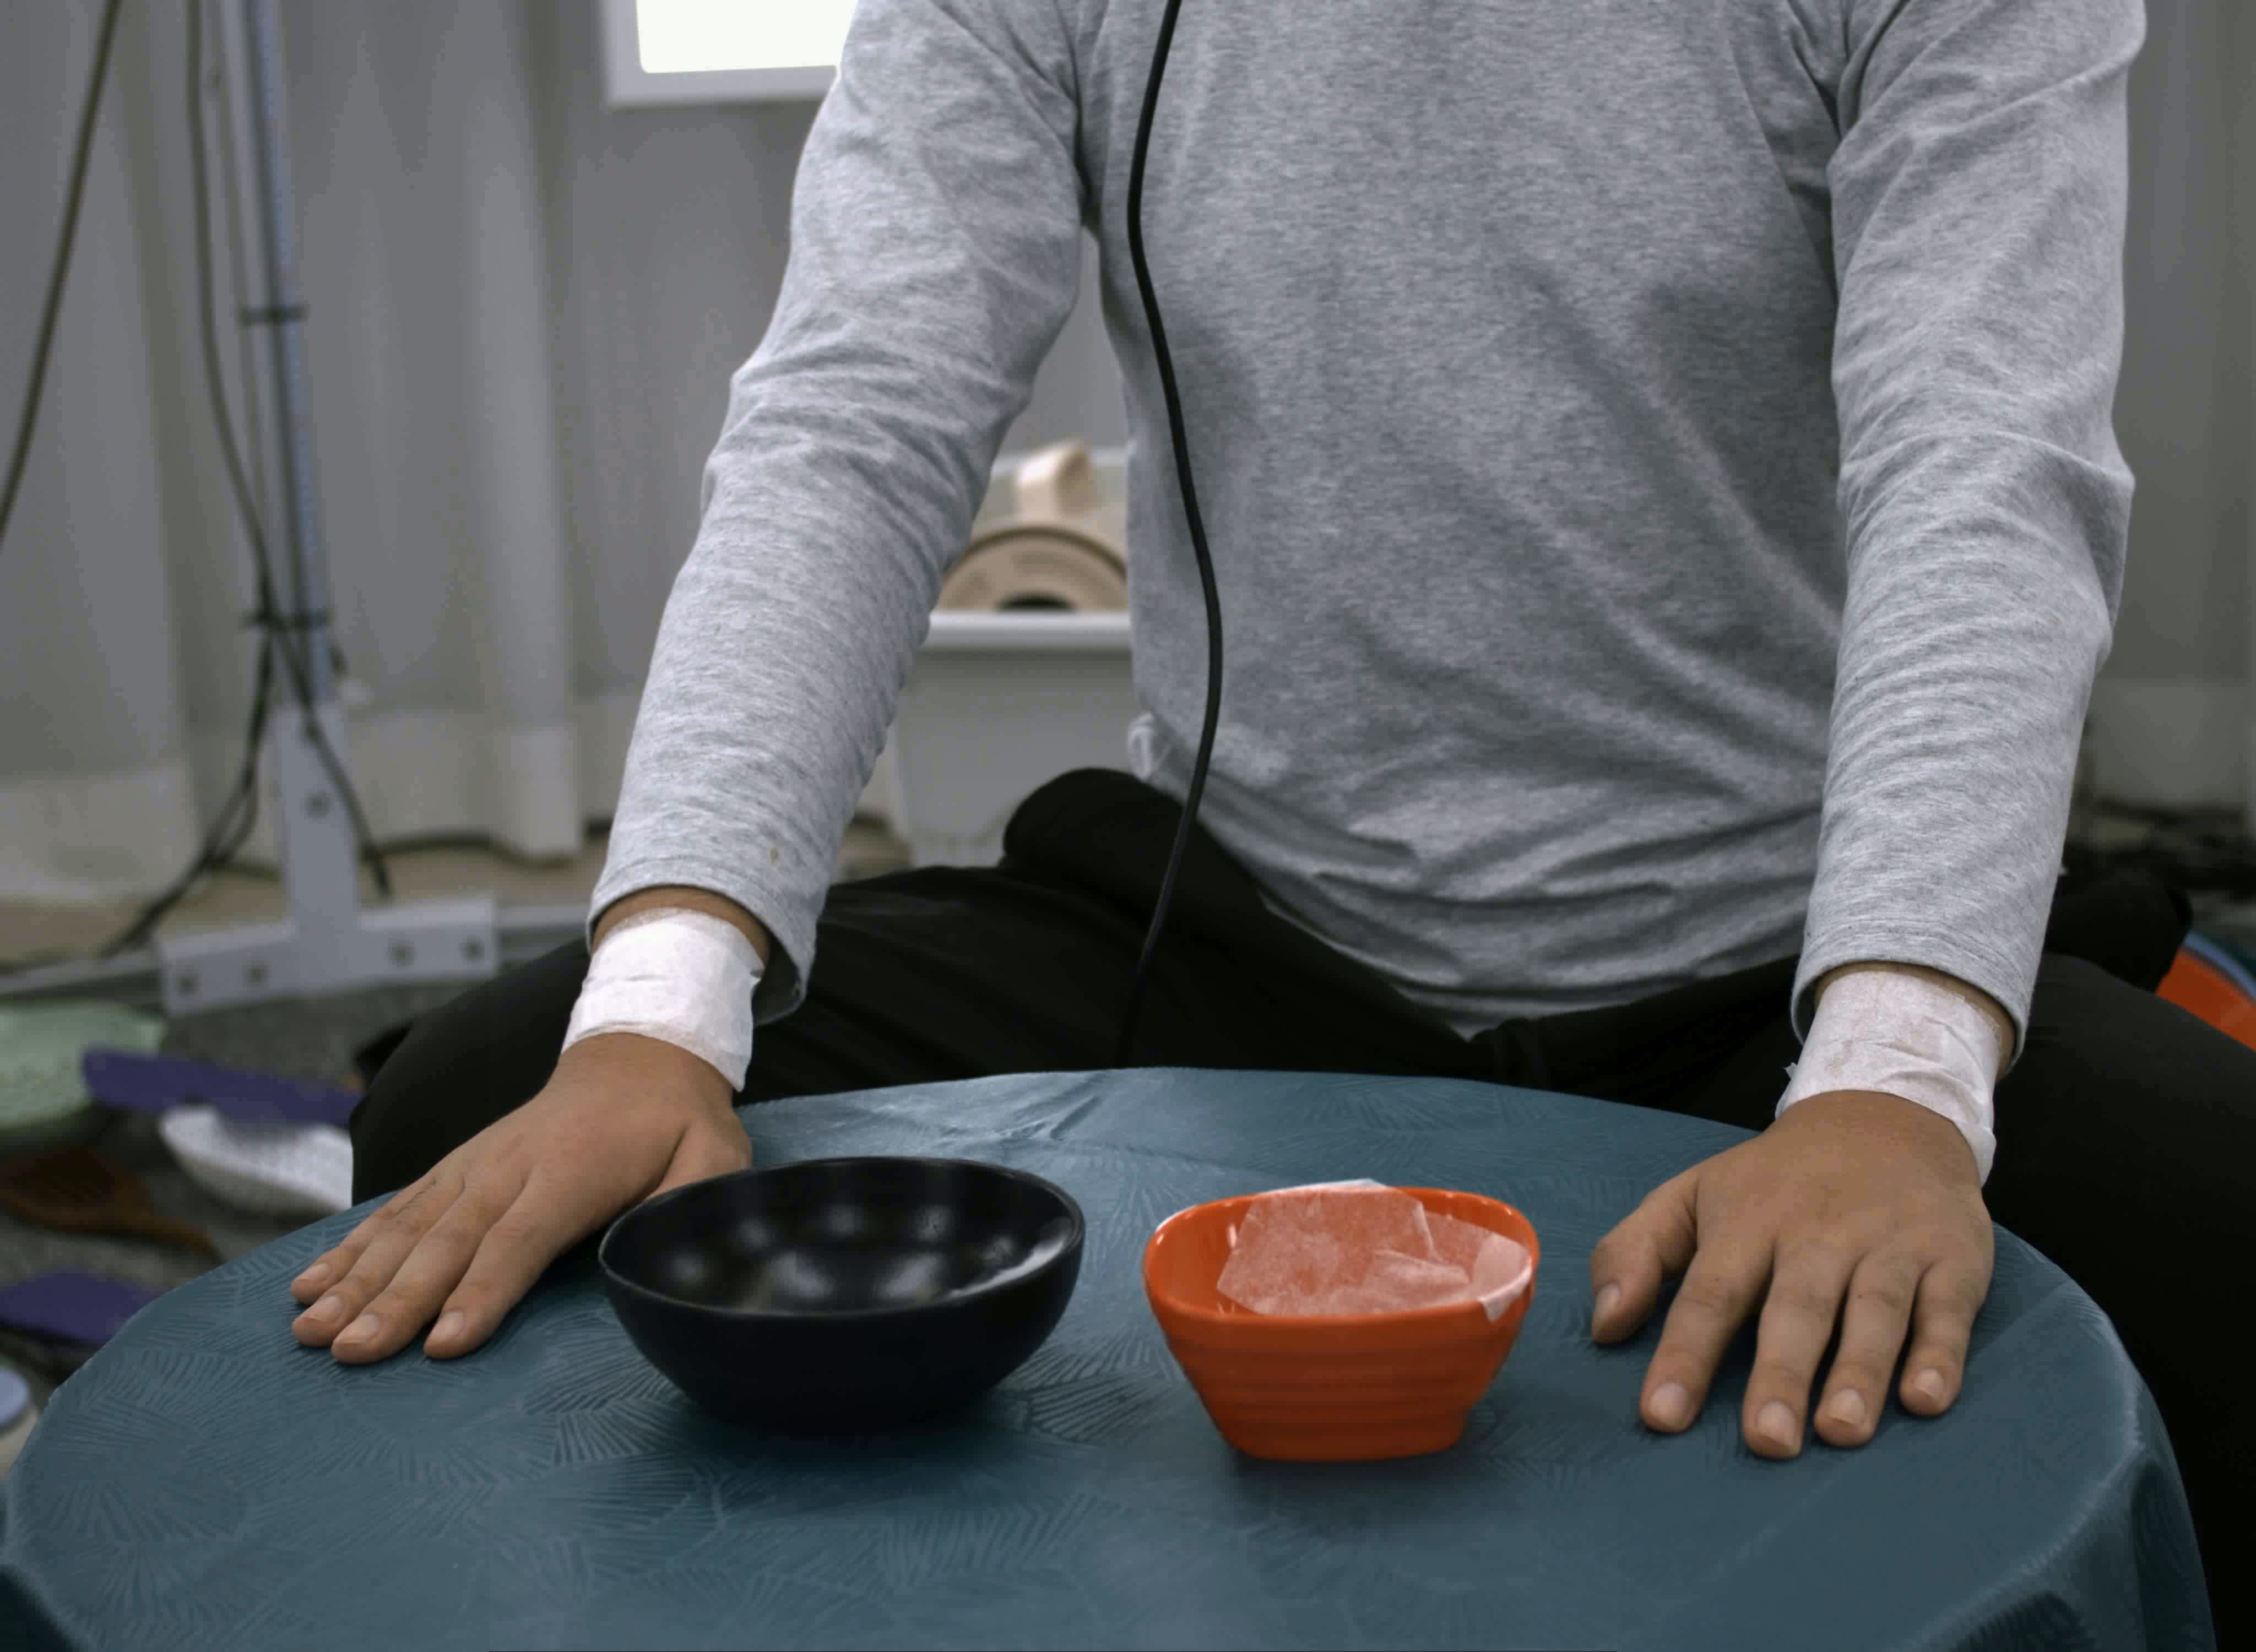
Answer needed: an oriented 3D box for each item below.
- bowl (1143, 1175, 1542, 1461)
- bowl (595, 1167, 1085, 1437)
[{"bbox_3d":[0.060,0.139,1.511,0.118,0.051,0.120,-4,16,1],"label":"bowl"},{"bbox_3d":[-0.081,0.139,1.551,0.139,0.049,0.141,-2,12,0],"label":"bowl"}]
